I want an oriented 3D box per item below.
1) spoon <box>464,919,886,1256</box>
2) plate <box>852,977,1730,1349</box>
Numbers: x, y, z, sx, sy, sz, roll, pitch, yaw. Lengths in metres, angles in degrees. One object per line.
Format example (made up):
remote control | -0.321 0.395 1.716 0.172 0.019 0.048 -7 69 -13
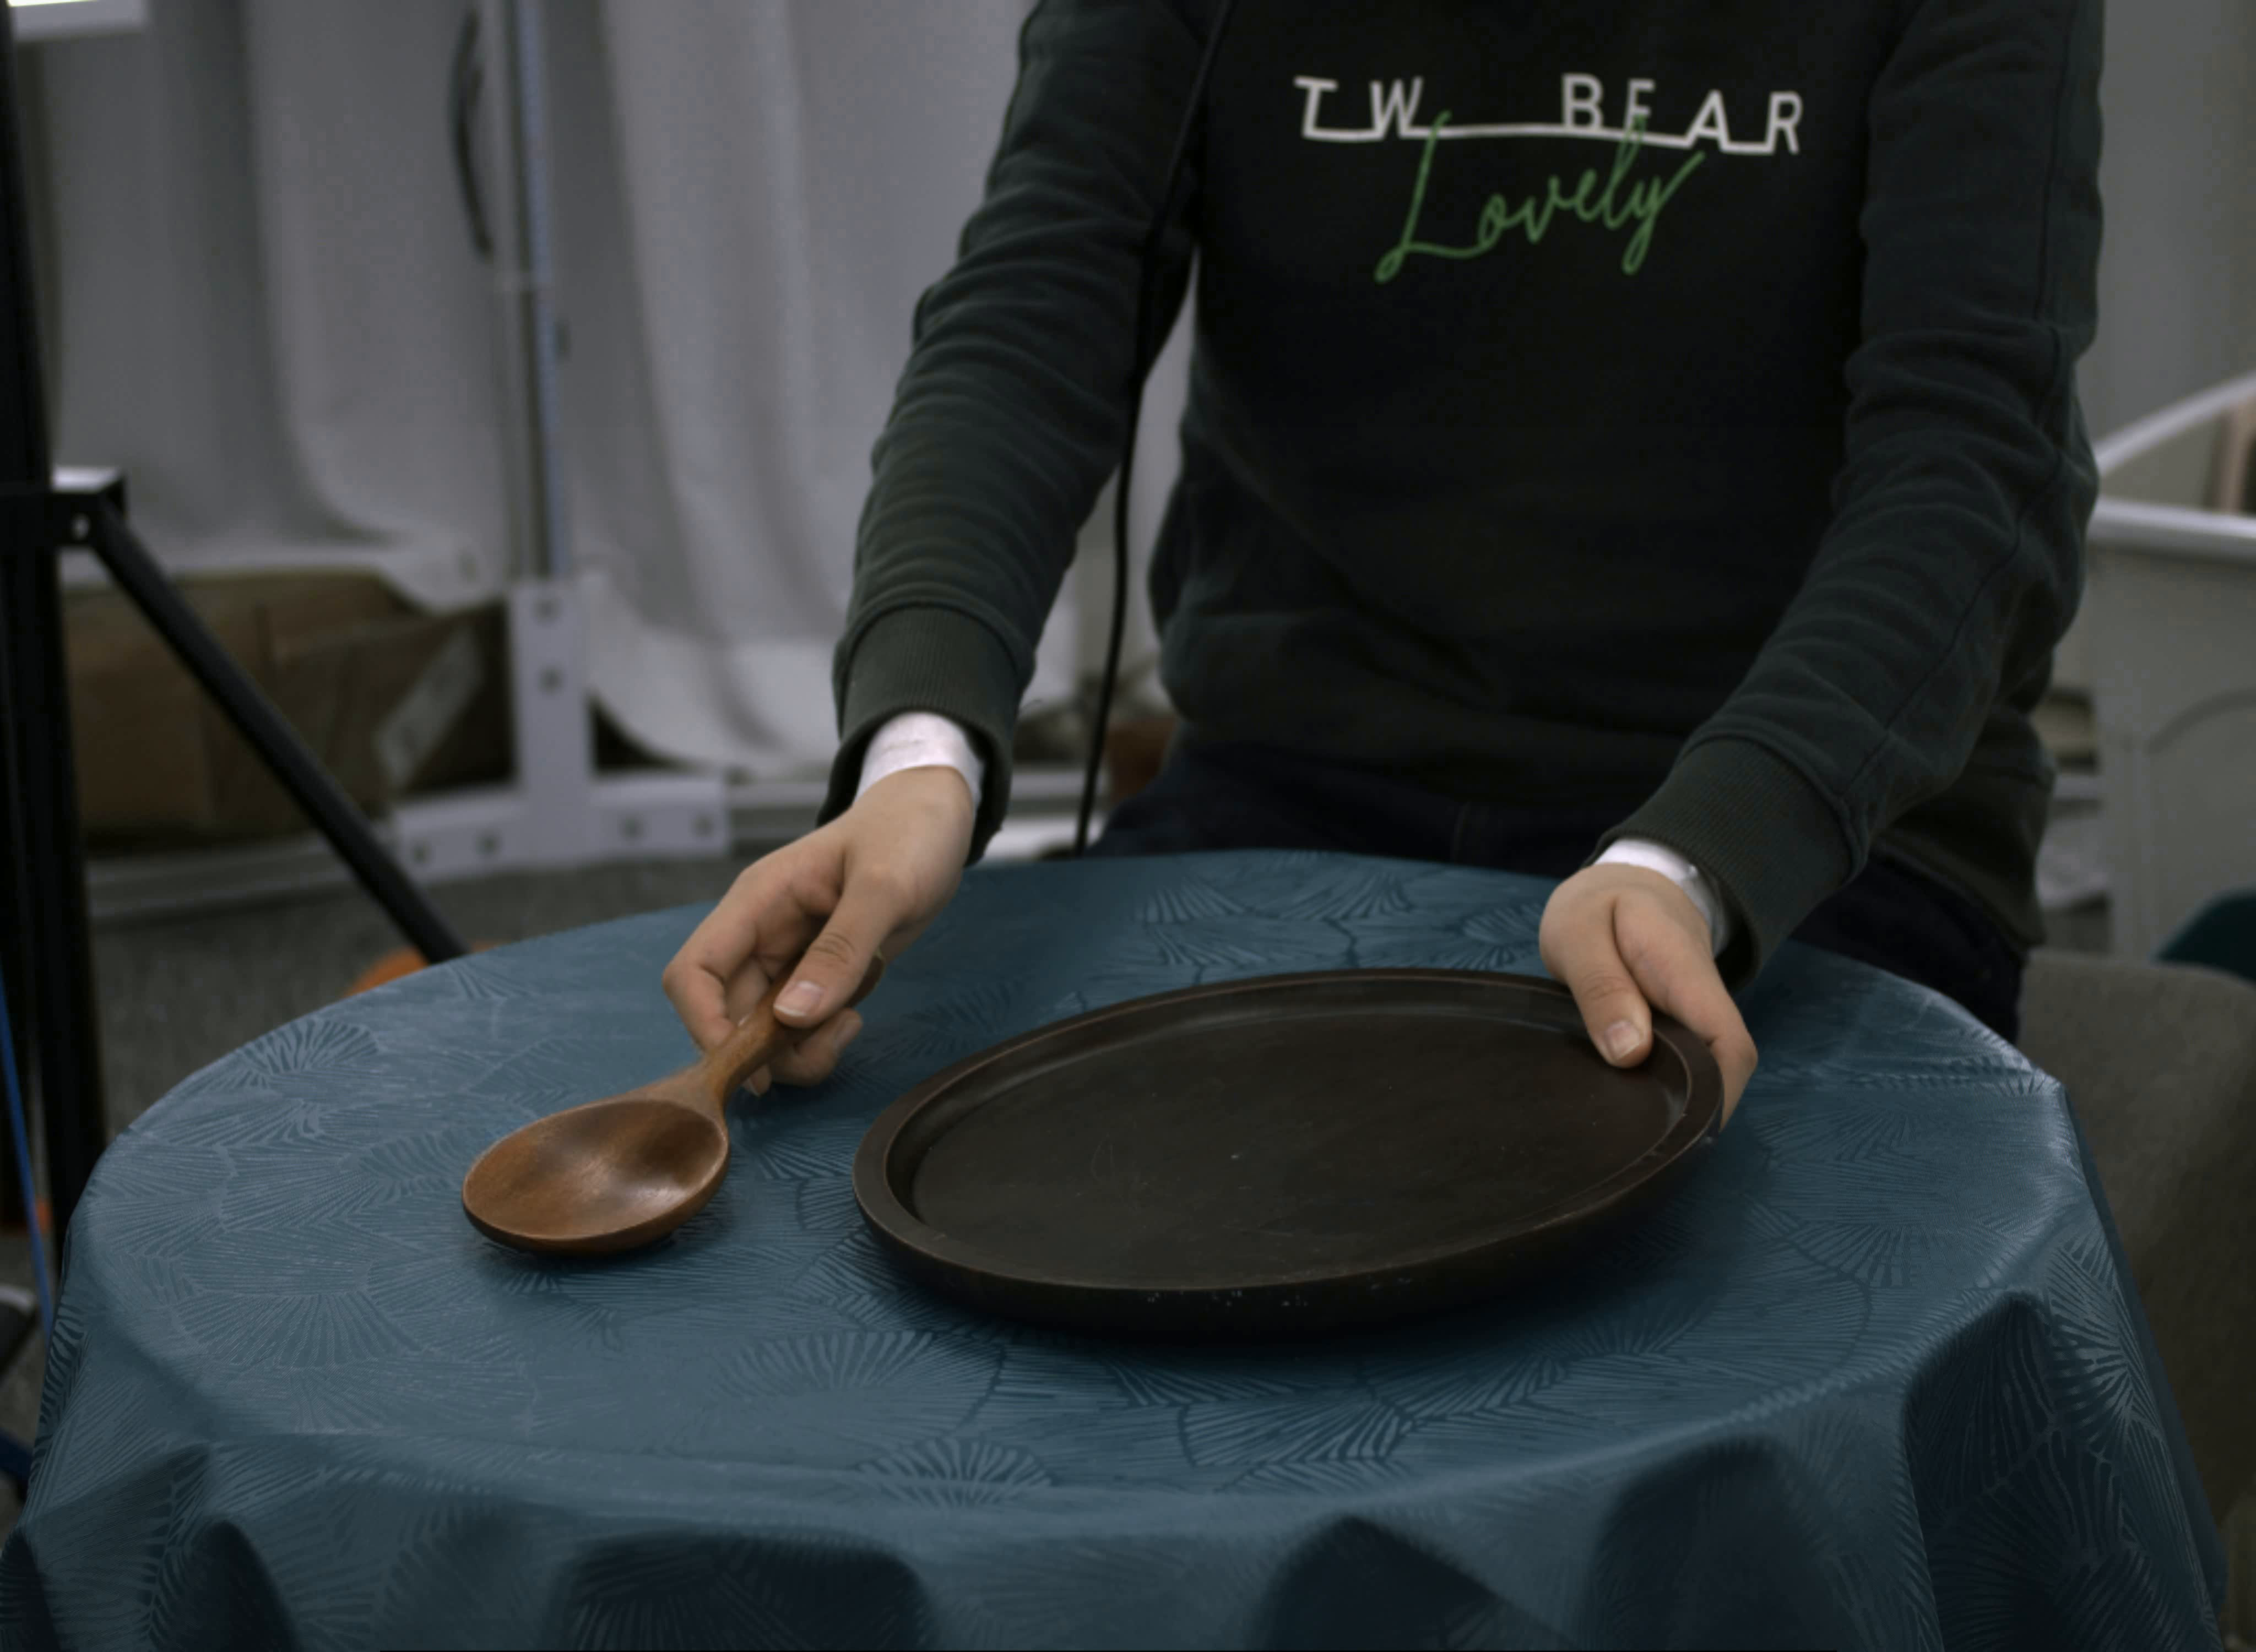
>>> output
spoon | -0.127 0.080 1.606 0.076 0.017 0.213 6 27 24
plate | 0.047 0.094 1.526 0.254 0.029 0.256 -7 19 1
